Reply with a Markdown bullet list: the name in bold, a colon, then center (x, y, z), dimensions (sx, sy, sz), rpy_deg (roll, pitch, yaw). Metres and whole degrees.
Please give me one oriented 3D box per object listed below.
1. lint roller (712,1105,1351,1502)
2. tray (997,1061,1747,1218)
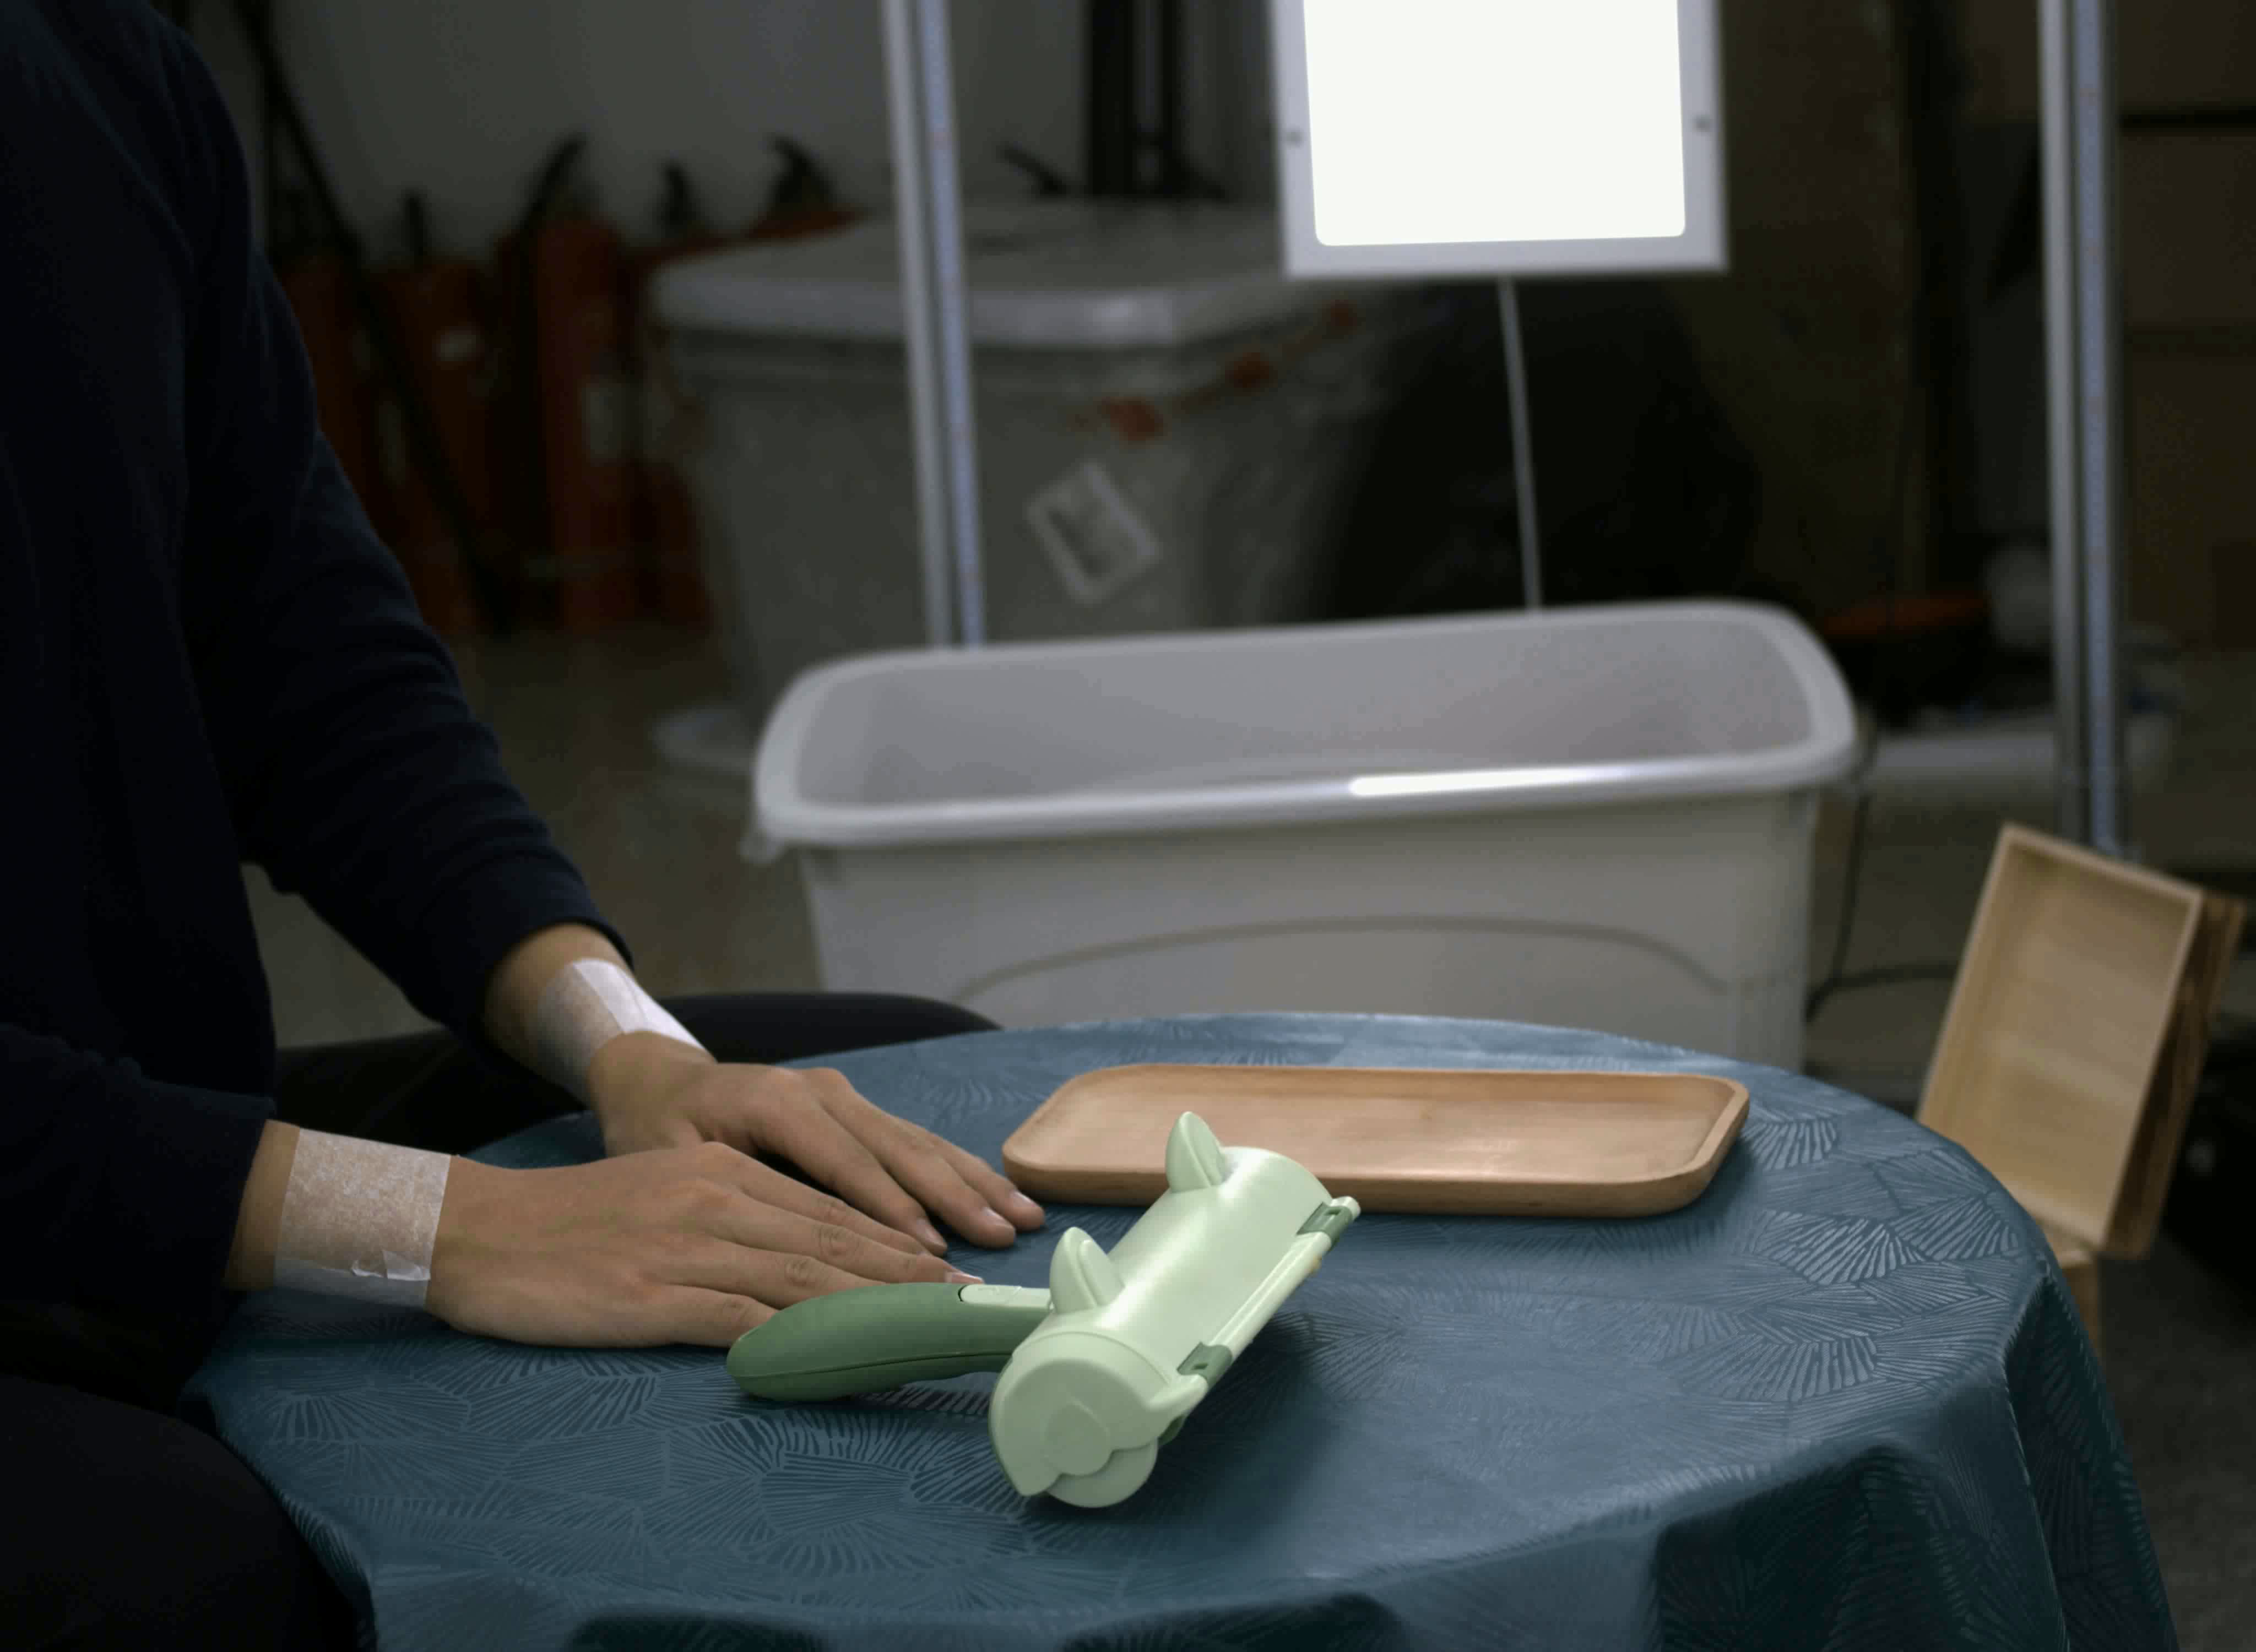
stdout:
- **lint roller**: center (-0.042, 0.136, 1.689), dimensions (0.185, 0.082, 0.195), rpy_deg (6, 16, 17)
- **tray**: center (0.085, 0.108, 1.906), dimensions (0.254, 0.023, 0.128), rpy_deg (-1, 12, 20)
